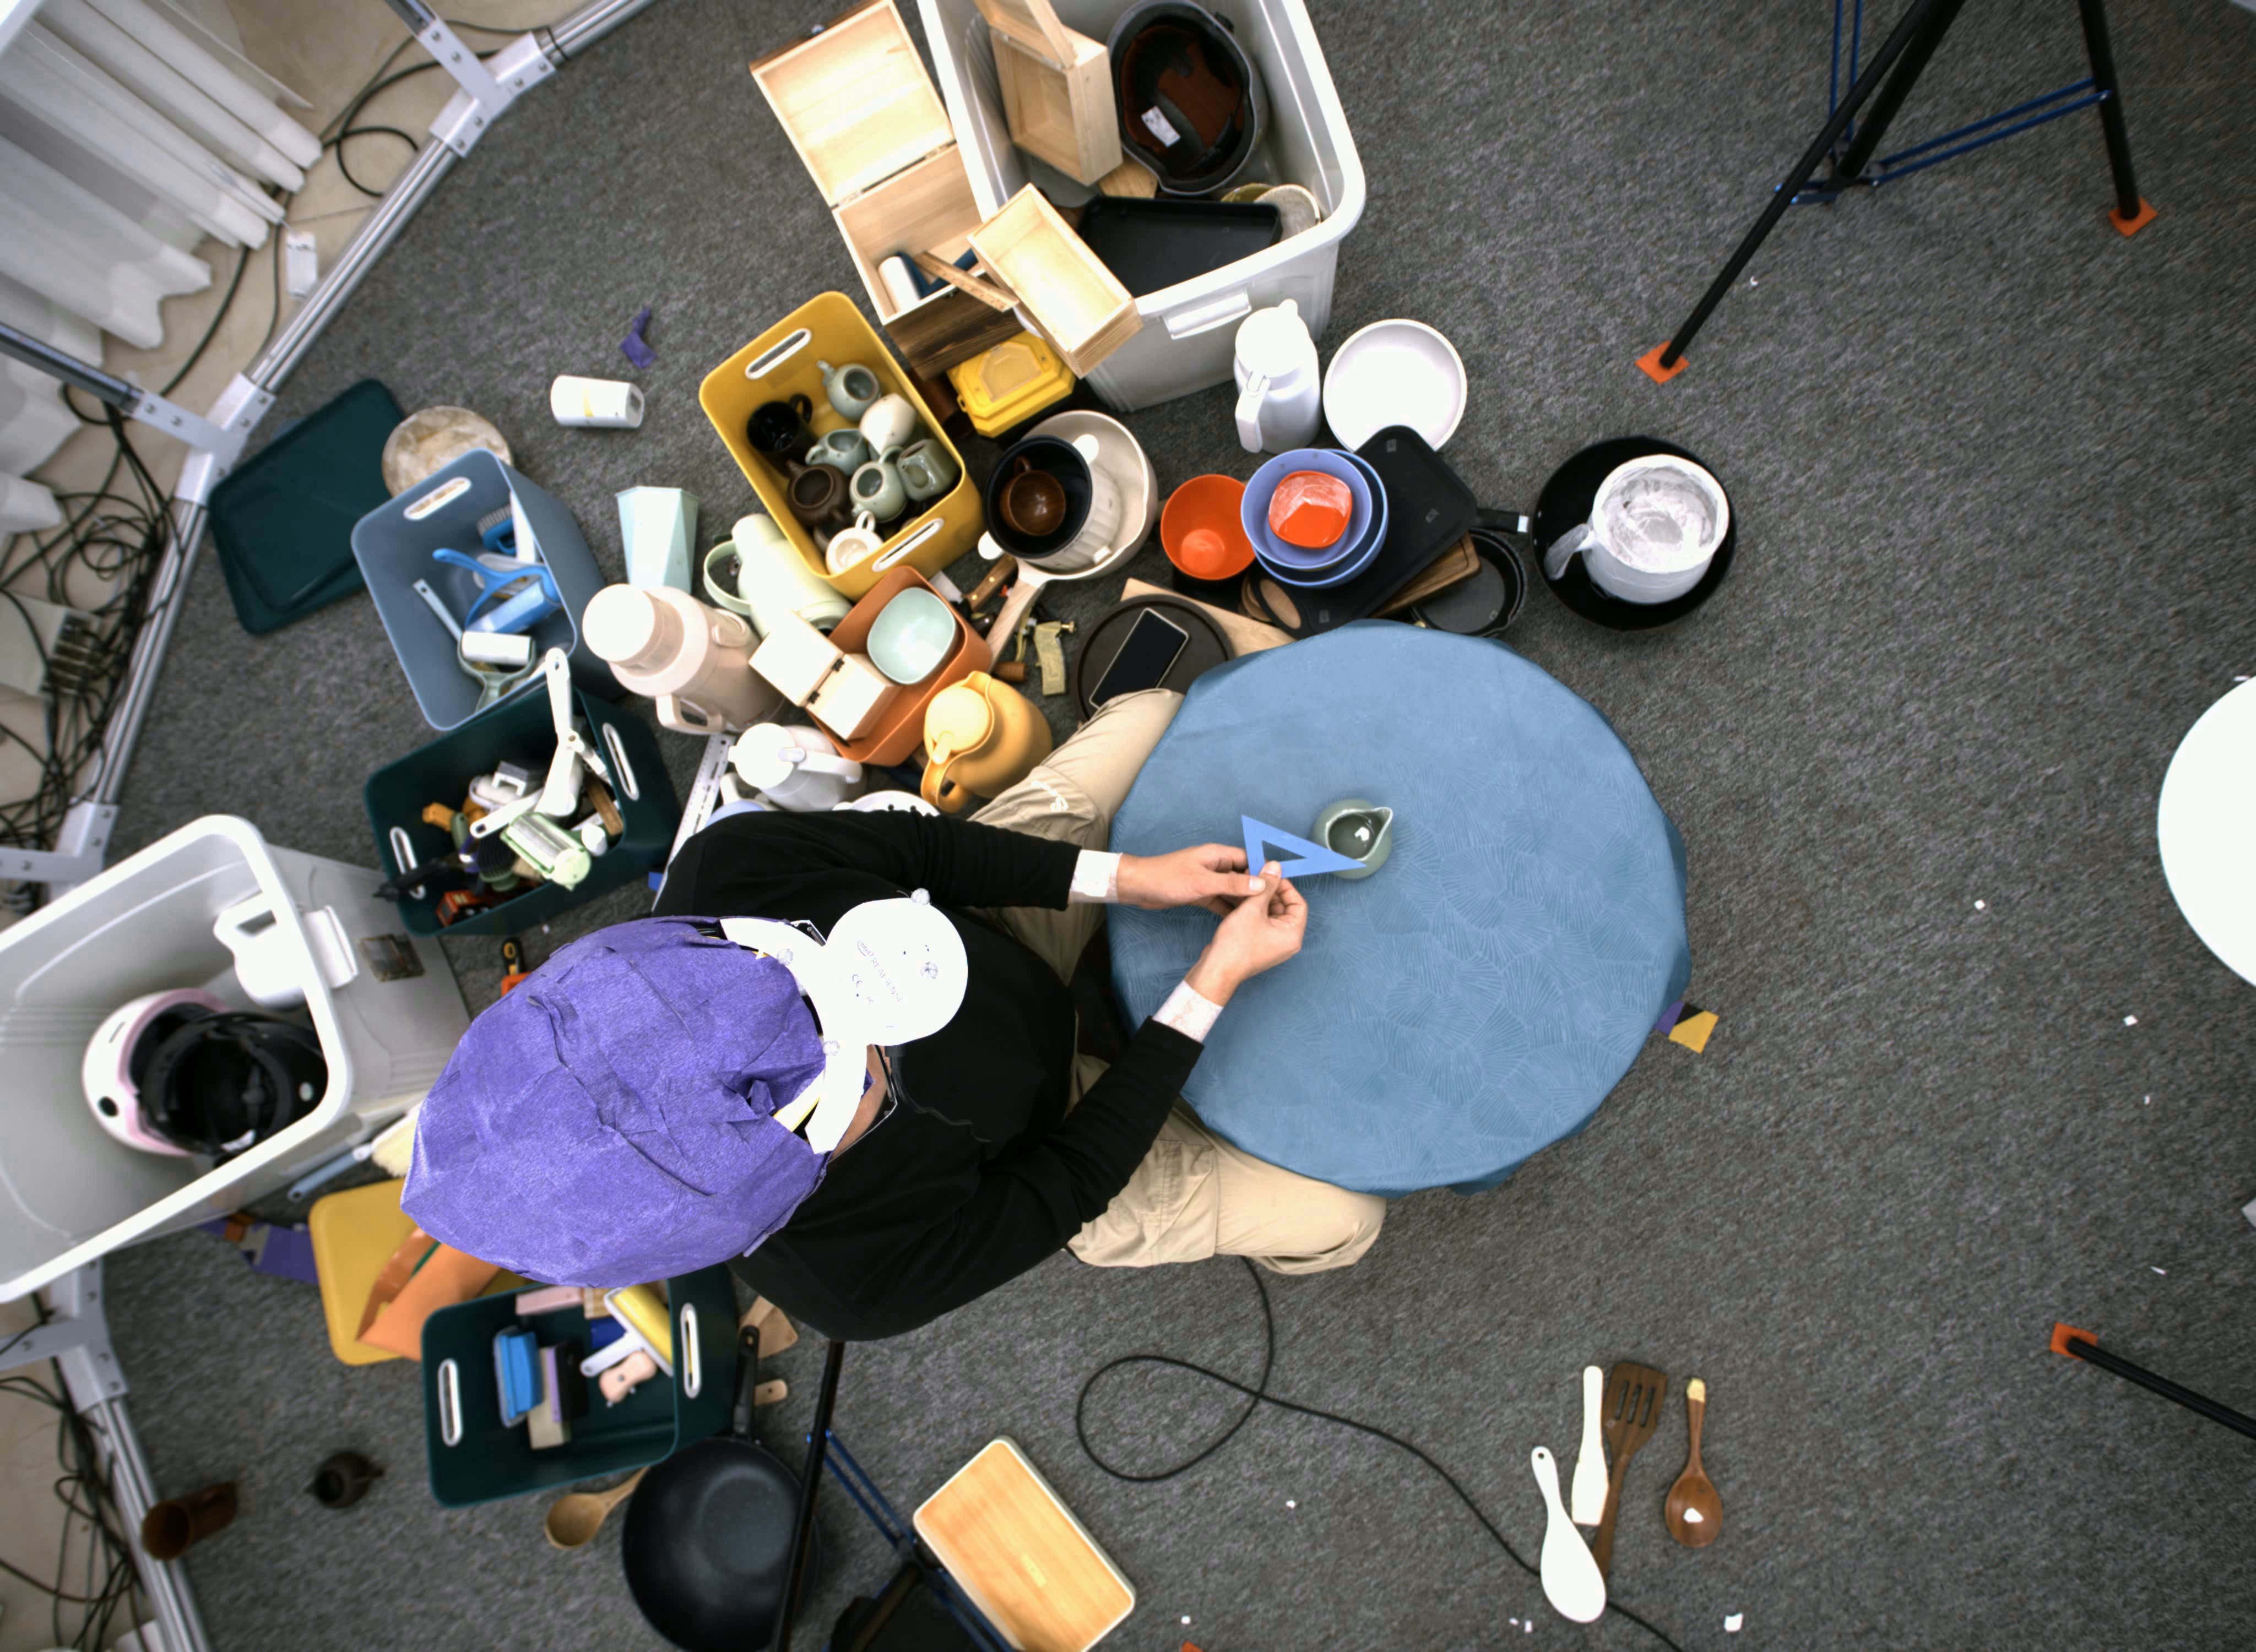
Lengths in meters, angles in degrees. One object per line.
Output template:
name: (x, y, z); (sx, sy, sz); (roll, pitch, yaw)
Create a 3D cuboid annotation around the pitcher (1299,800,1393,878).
pitcher: (0.228, 0.016, 1.443); (0.113, 0.056, 0.083); (-34, 78, 6)

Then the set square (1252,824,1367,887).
set square: (0.176, 0.049, 1.417); (0.132, 0.006, 0.061); (25, 84, 4)
